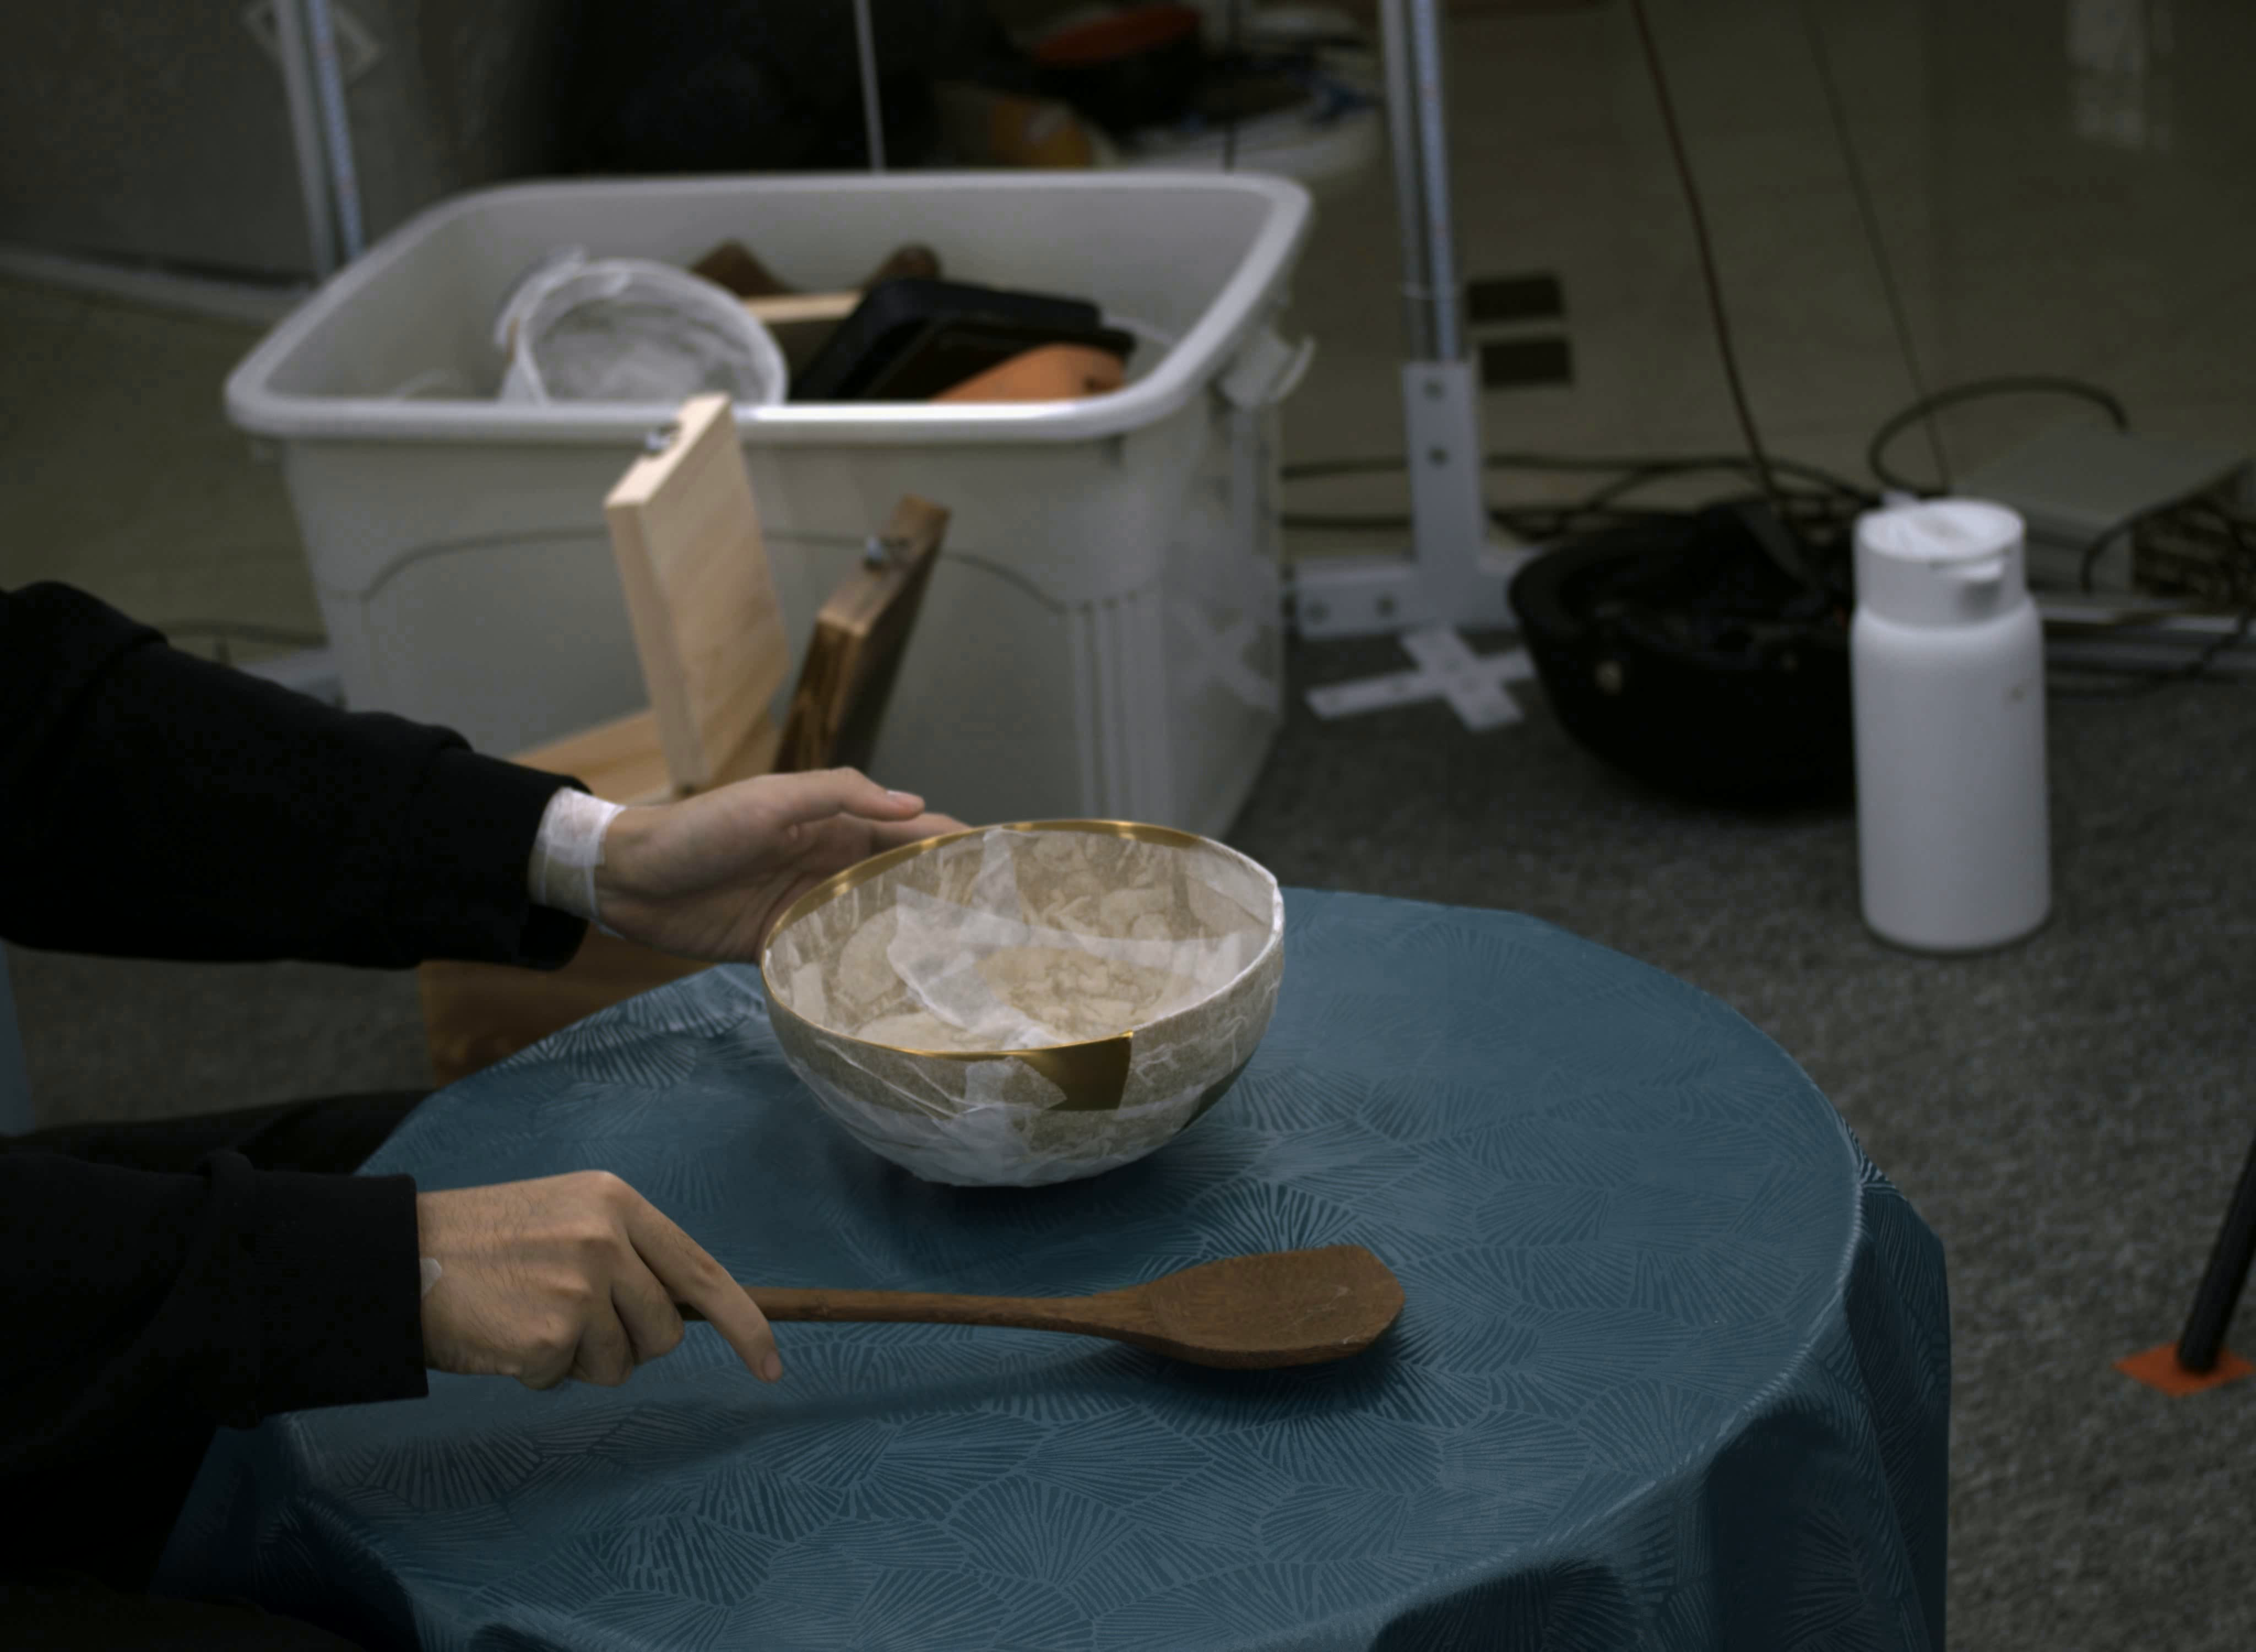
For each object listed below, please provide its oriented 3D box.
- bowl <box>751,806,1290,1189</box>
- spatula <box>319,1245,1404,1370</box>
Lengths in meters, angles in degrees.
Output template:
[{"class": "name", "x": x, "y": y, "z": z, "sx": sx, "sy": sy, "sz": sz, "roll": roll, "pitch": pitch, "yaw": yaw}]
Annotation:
[{"class": "bowl", "x": -0.037, "y": 0.079, "z": 2.179, "sx": 0.214, "sy": 0.096, "sz": 0.211, "roll": -6, "pitch": 27, "yaw": 3}, {"class": "spatula", "x": -0.094, "y": 0.170, "z": 2.018, "sx": 0.385, "sy": 0.016, "sz": 0.095, "roll": 1, "pitch": 19, "yaw": -3}]
